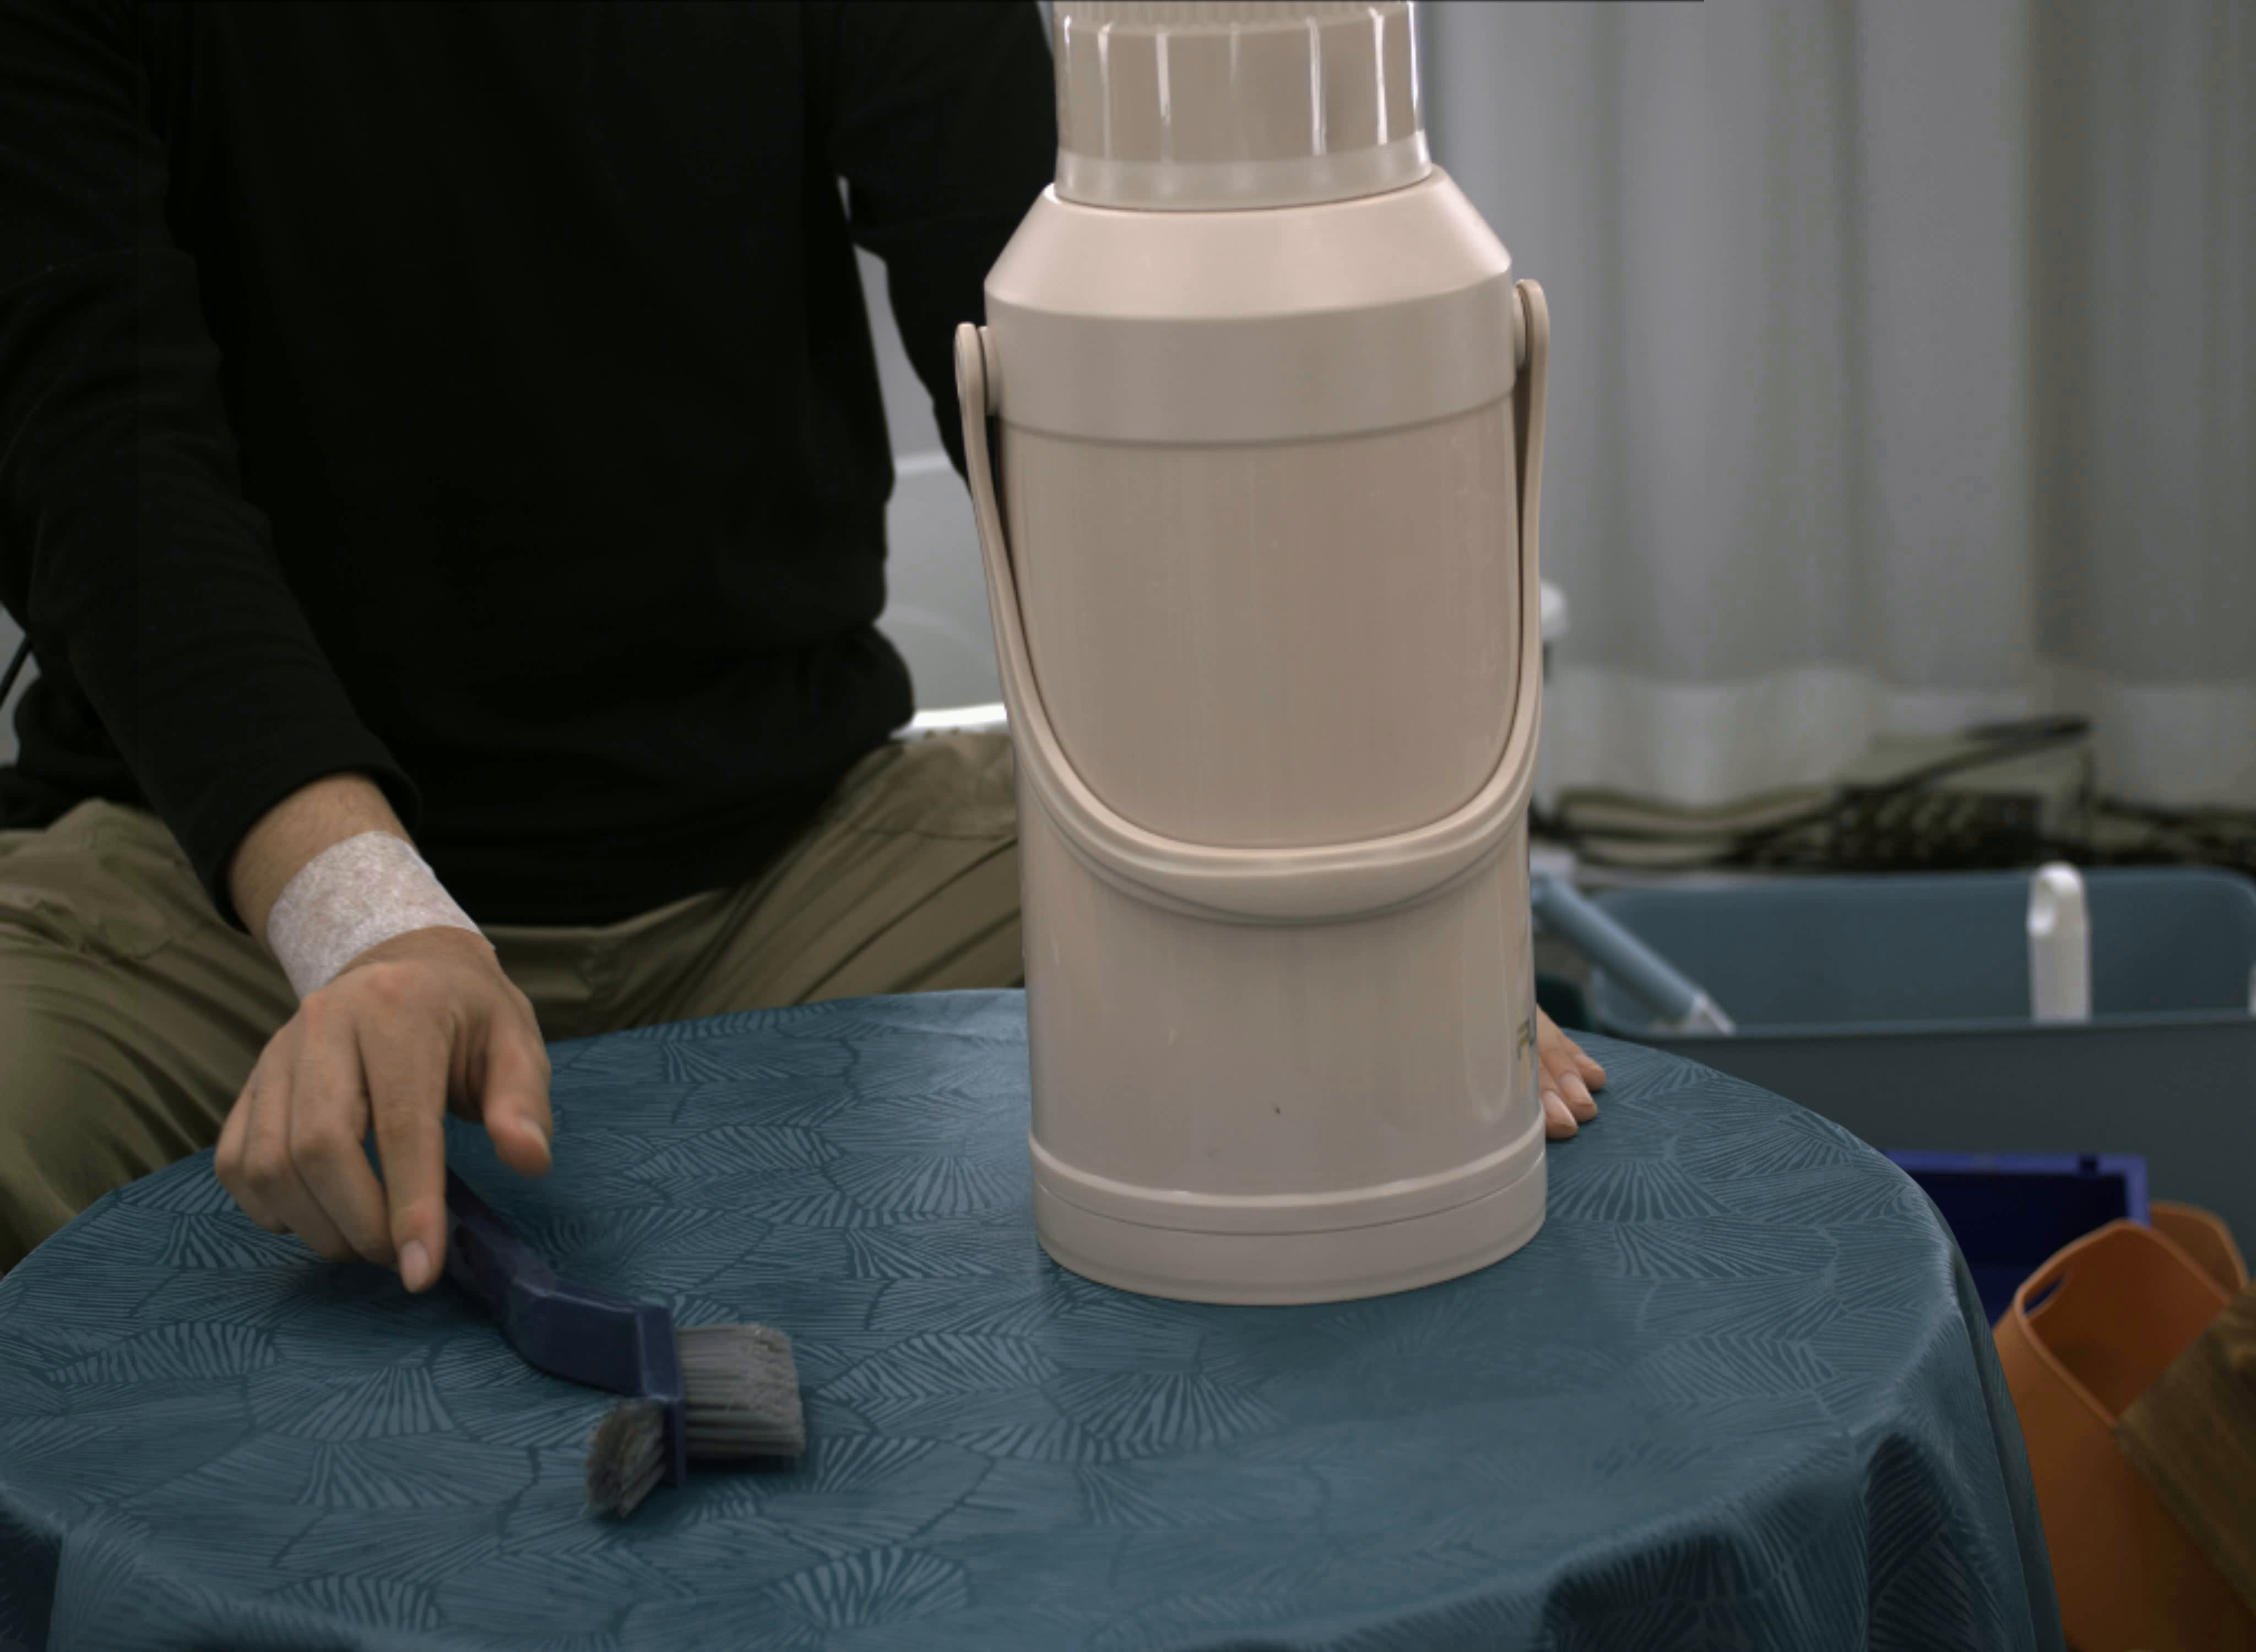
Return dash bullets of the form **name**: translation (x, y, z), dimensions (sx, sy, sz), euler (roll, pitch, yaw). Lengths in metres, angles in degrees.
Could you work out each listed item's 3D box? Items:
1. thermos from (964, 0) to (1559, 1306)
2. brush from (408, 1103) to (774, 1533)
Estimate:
- **thermos**: translation (0.042, -0.074, 1.650), dimensions (0.174, 0.405, 0.208), euler (-6, 14, -8)
- **brush**: translation (-0.180, 0.139, 1.593), dimensions (0.095, 0.033, 0.275), euler (-10, 18, -29)
